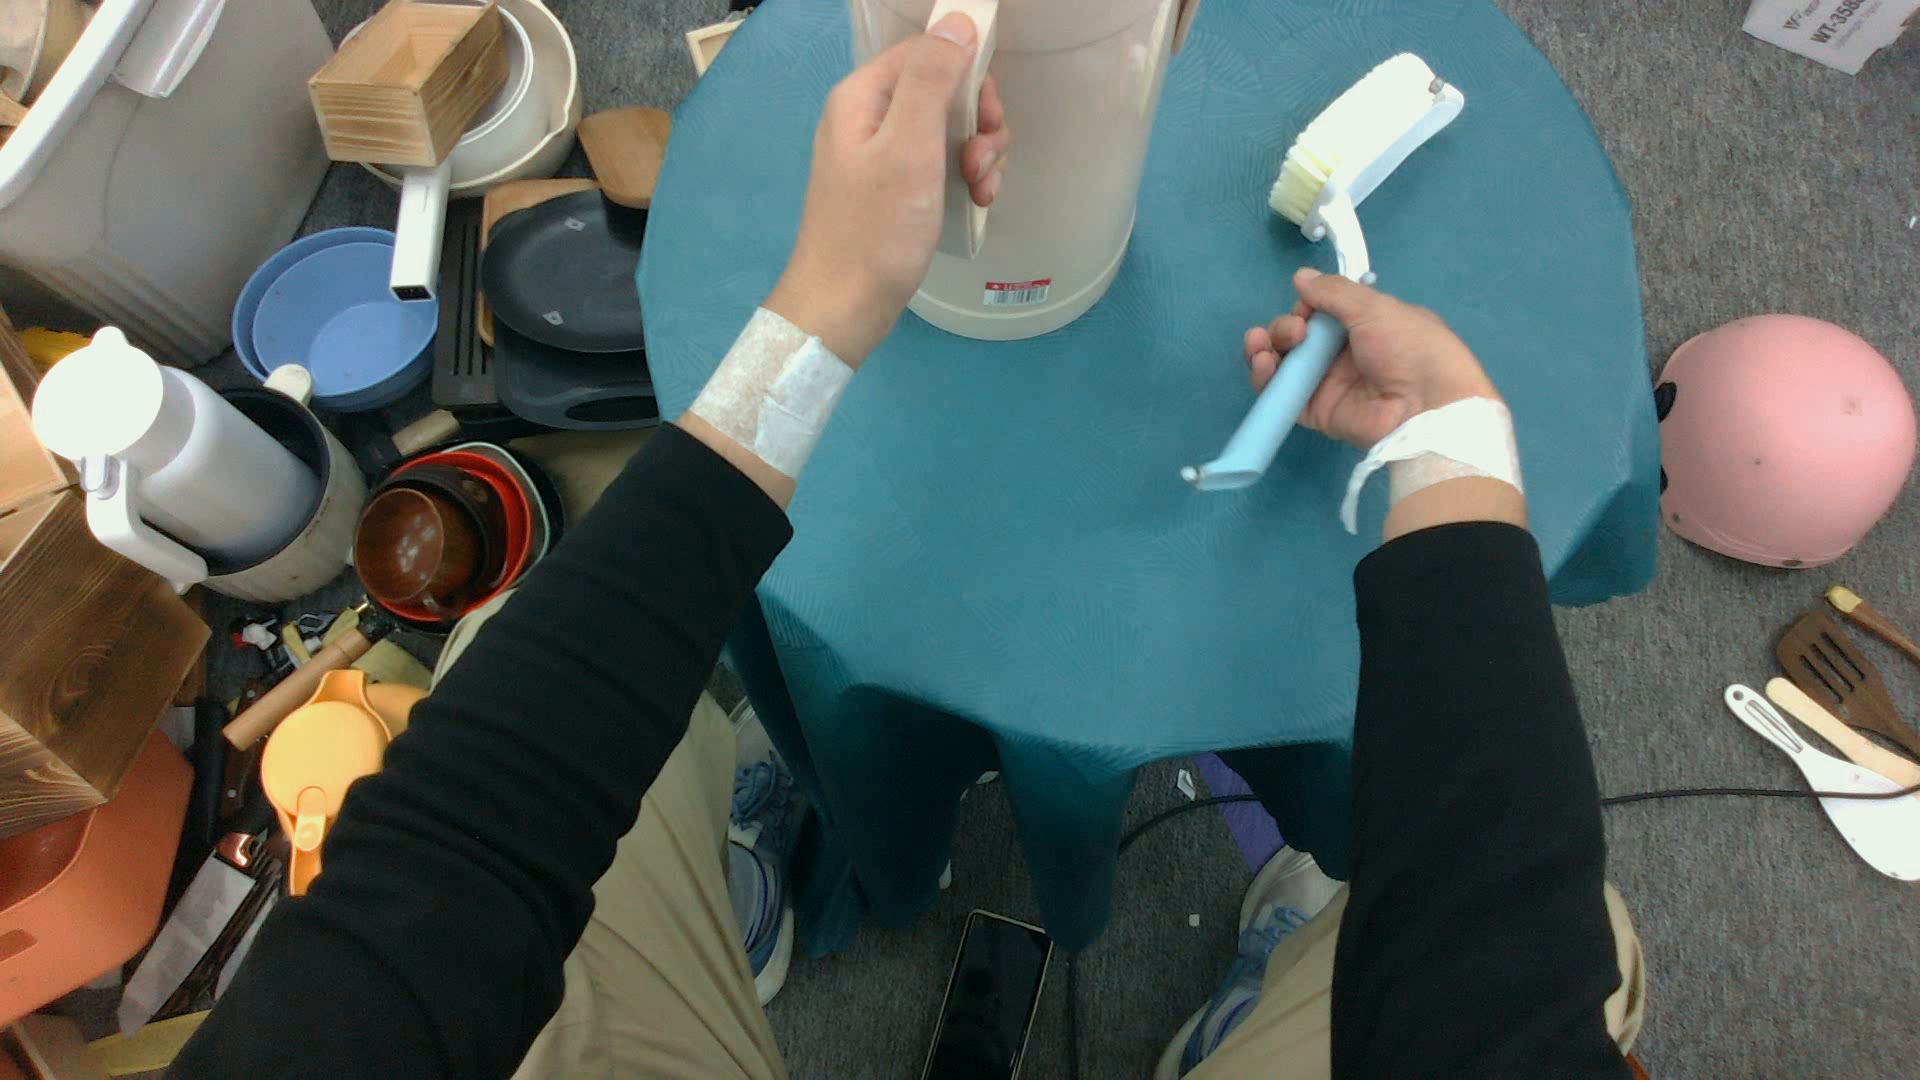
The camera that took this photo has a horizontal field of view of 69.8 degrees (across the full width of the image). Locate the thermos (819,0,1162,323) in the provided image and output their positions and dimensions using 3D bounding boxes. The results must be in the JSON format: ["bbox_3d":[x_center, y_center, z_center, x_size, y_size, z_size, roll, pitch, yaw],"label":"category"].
[{"bbox_3d":[0.005,-0.248,0.642,0.175,0.405,0.207,16,72,2],"label":"thermos"}]

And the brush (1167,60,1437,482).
[{"bbox_3d":[0.173,-0.168,0.772,0.084,0.083,0.327,12,55,42],"label":"brush"}]
